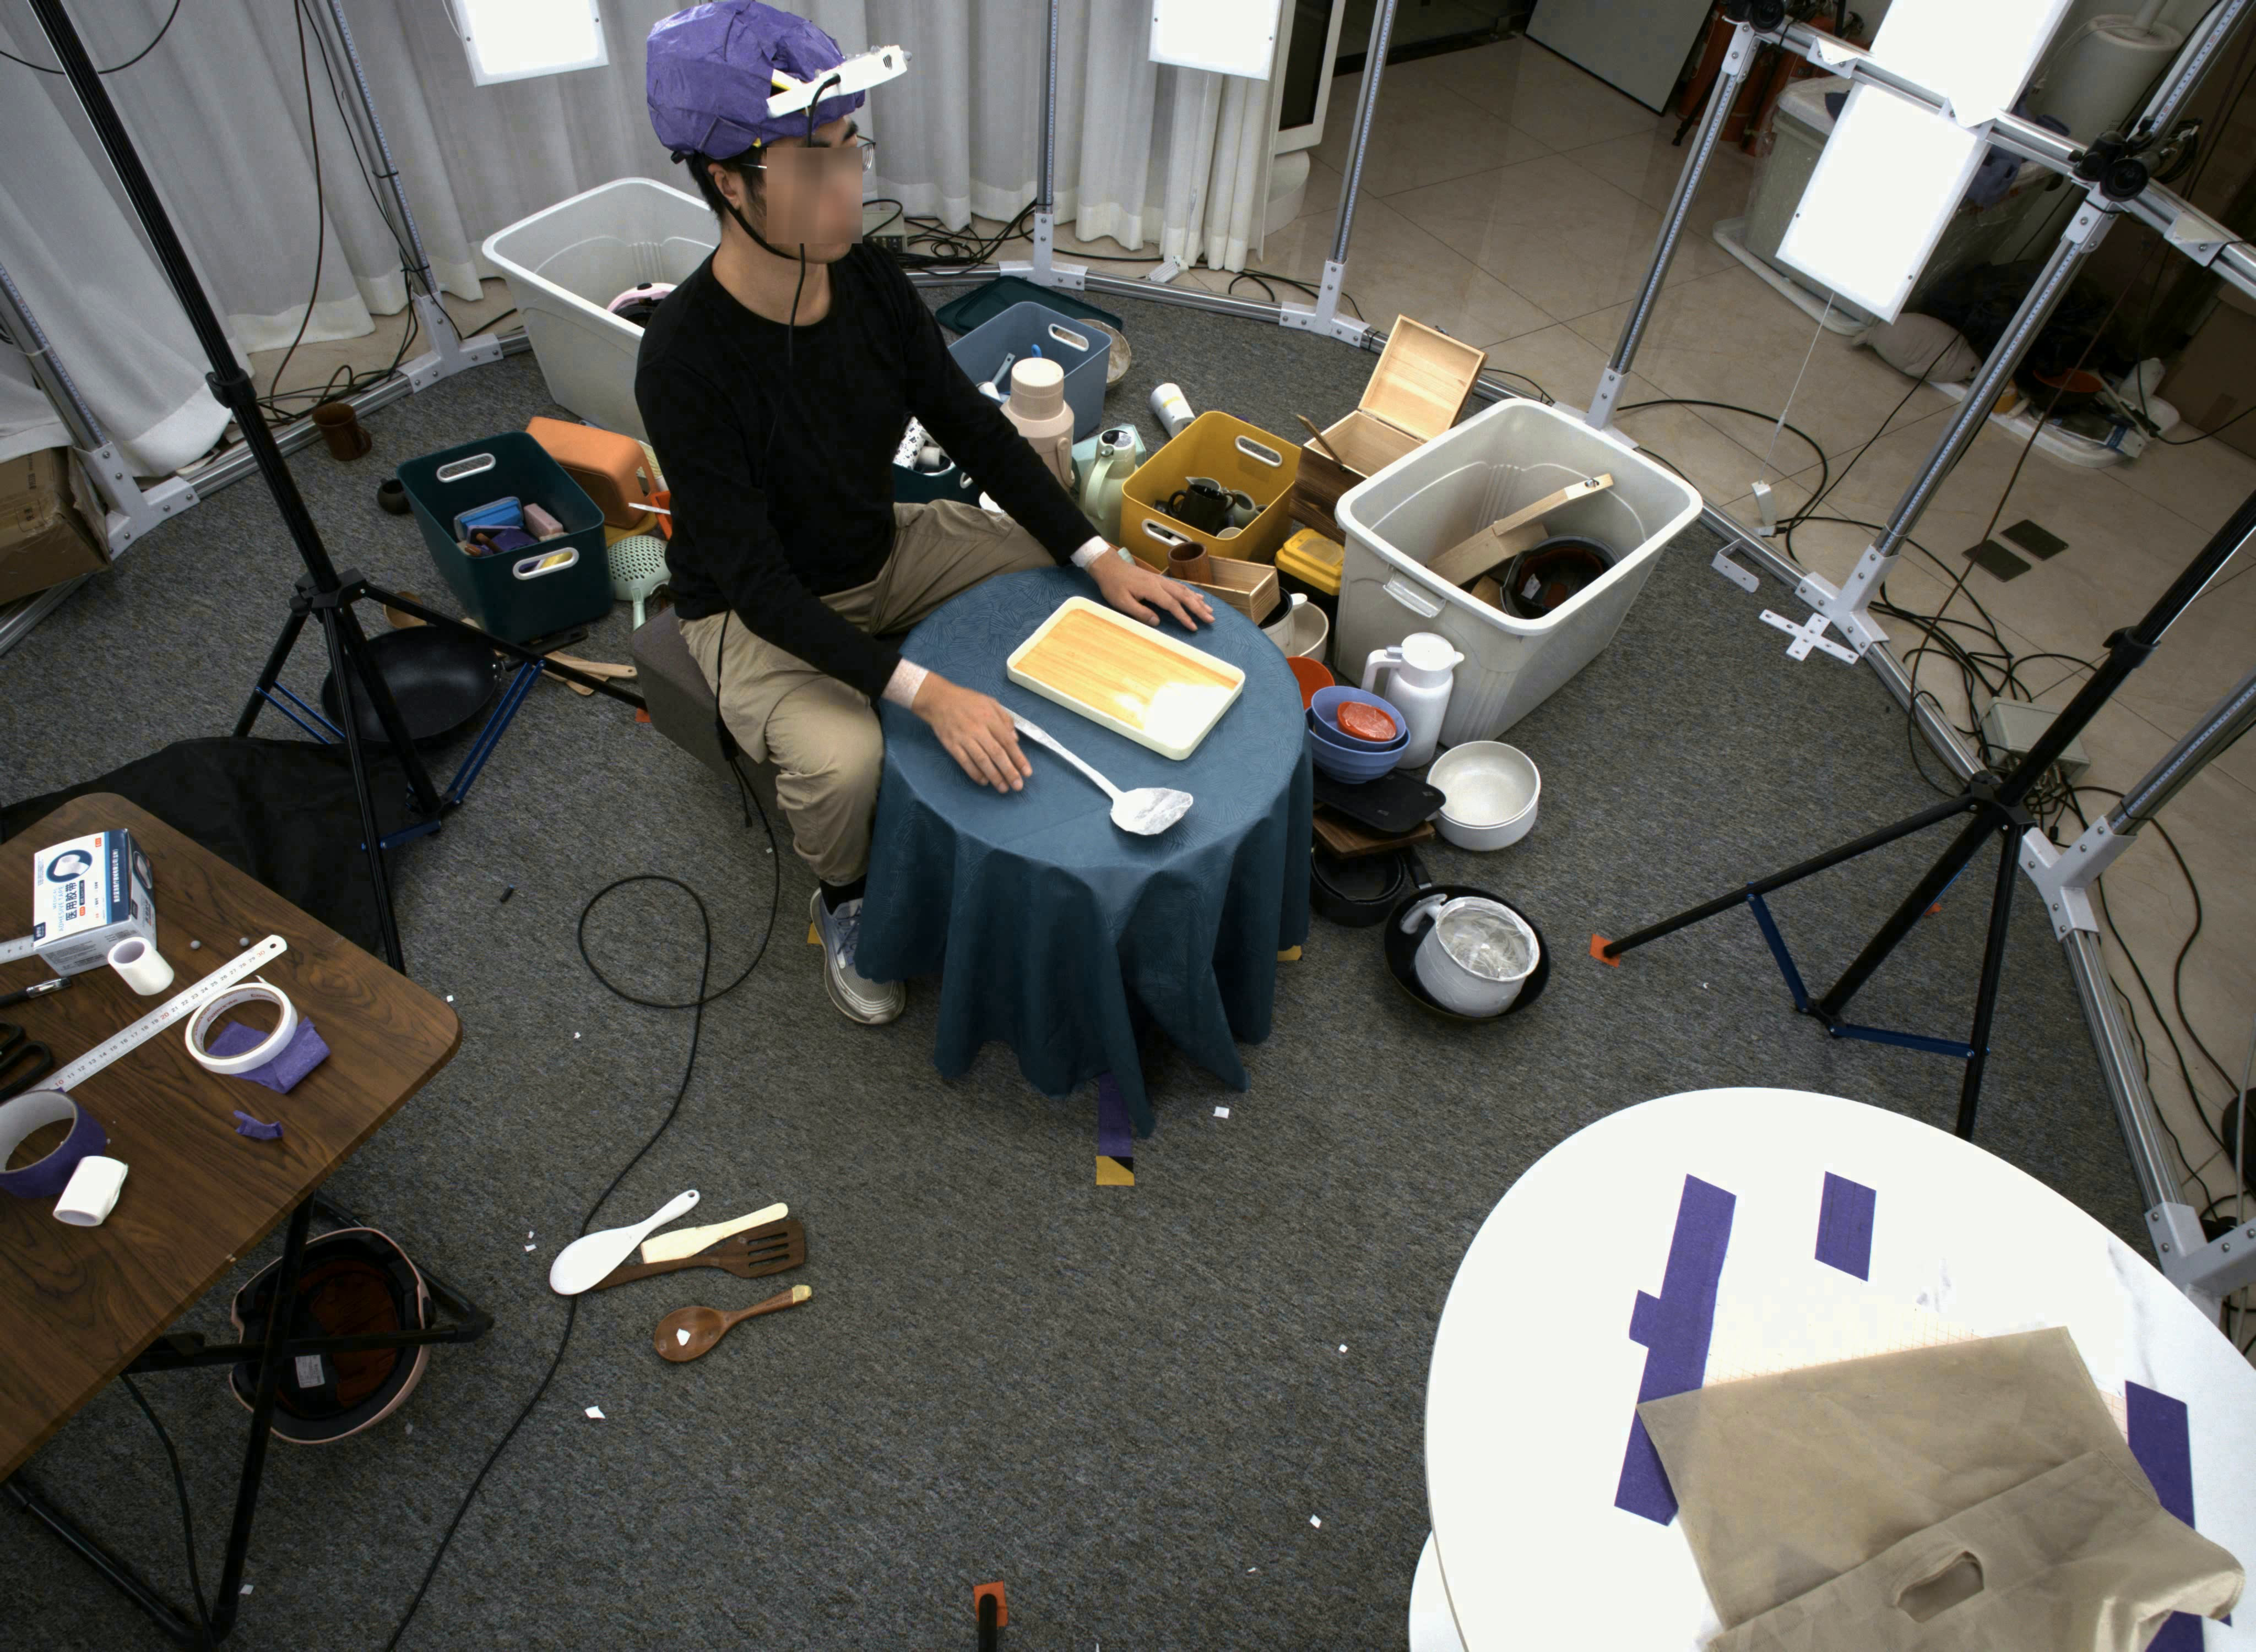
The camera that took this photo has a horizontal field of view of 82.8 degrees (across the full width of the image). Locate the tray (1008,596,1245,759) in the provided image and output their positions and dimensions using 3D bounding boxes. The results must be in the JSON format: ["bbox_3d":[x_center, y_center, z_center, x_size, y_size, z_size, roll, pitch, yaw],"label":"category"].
[{"bbox_3d":[-0.003,-0.217,1.841,0.303,0.027,0.194,27,53,19],"label":"tray"}]

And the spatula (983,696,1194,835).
[{"bbox_3d":[-0.072,-0.093,1.721,0.370,0.044,0.100,36,56,24],"label":"spatula"}]
